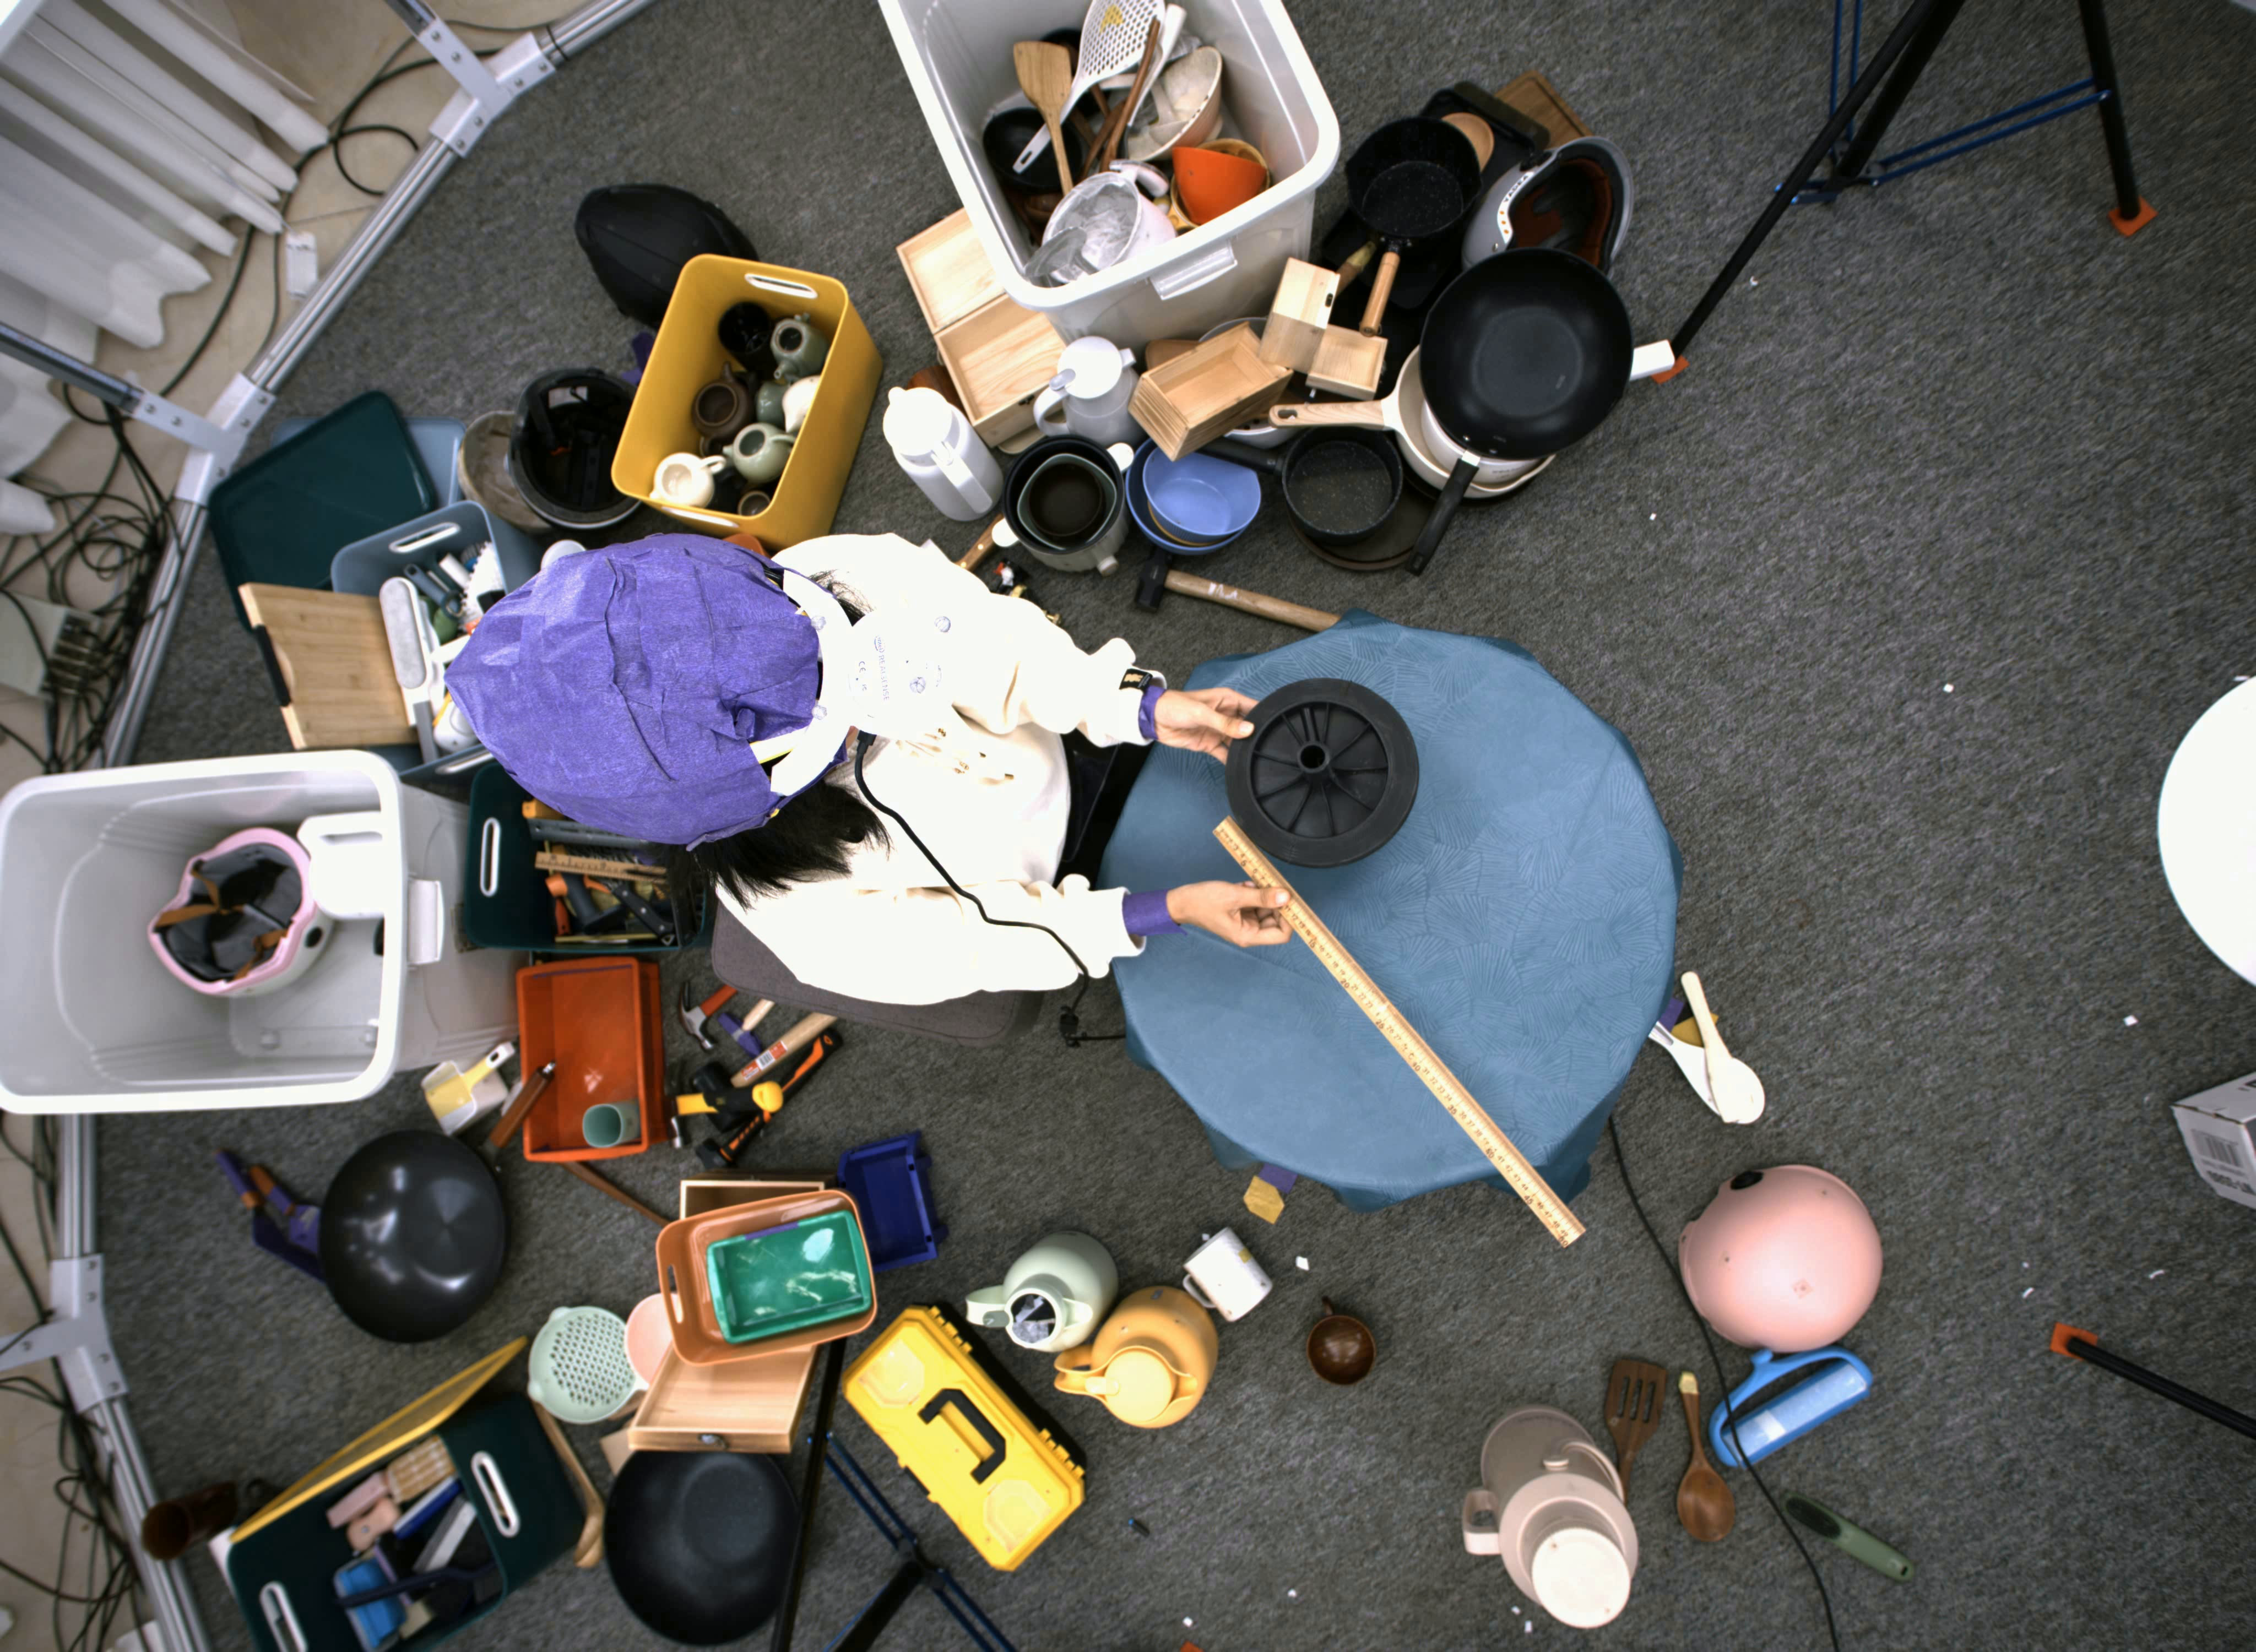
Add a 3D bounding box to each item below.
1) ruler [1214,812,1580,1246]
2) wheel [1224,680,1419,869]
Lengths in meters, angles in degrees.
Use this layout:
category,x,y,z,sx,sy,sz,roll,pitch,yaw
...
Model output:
category,x,y,z,sx,sy,sz,roll,pitch,yaw
ruler,0.239,0.176,1.283,0.027,0.006,0.495,-47,70,21
wheel,0.182,-0.057,1.320,0.188,0.079,0.188,-36,73,7
